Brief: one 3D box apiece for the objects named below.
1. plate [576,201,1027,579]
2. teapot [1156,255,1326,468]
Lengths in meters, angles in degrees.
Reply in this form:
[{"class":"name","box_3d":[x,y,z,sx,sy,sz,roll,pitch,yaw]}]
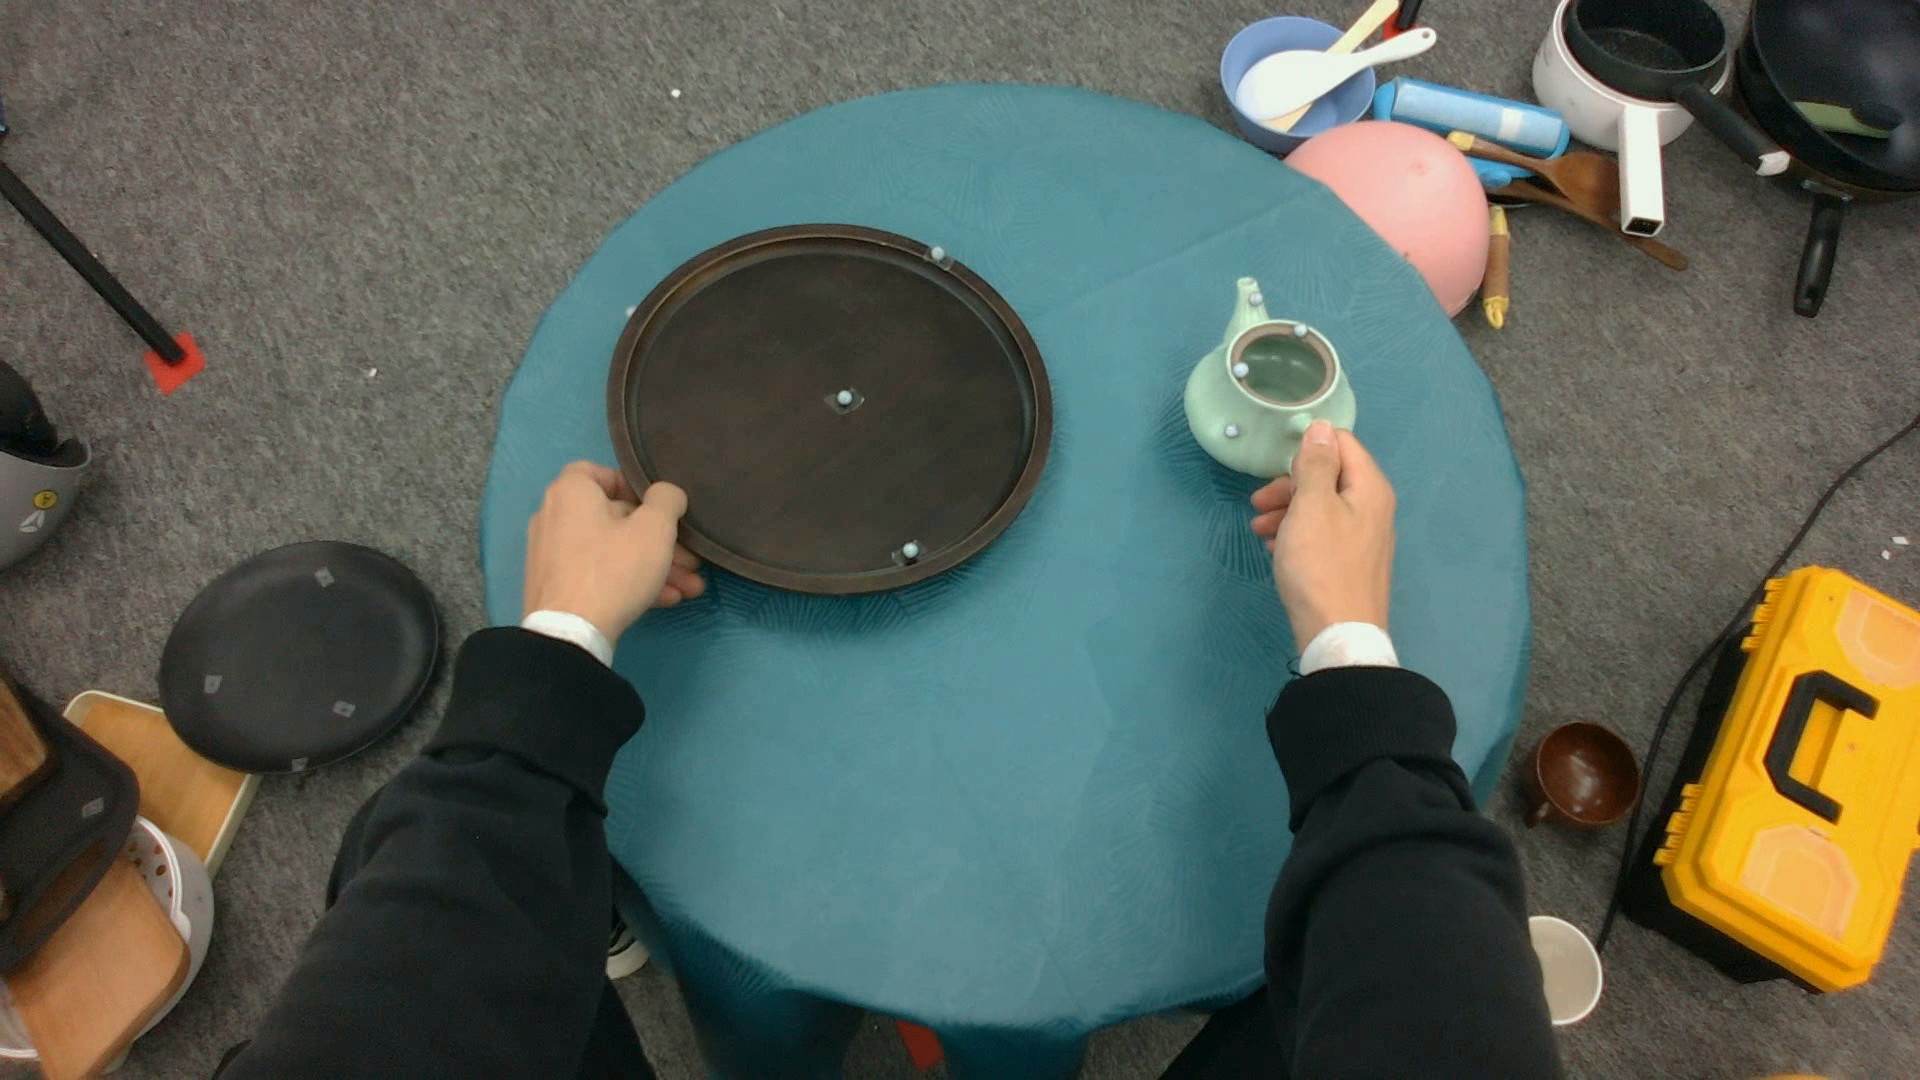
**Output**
[{"class":"plate","box_3d":[-0.087,-0.090,0.785,0.255,0.029,0.256,4,60,-7]},{"class":"teapot","box_3d":[0.162,-0.093,0.774,0.096,0.061,0.137,-14,60,-11]}]
